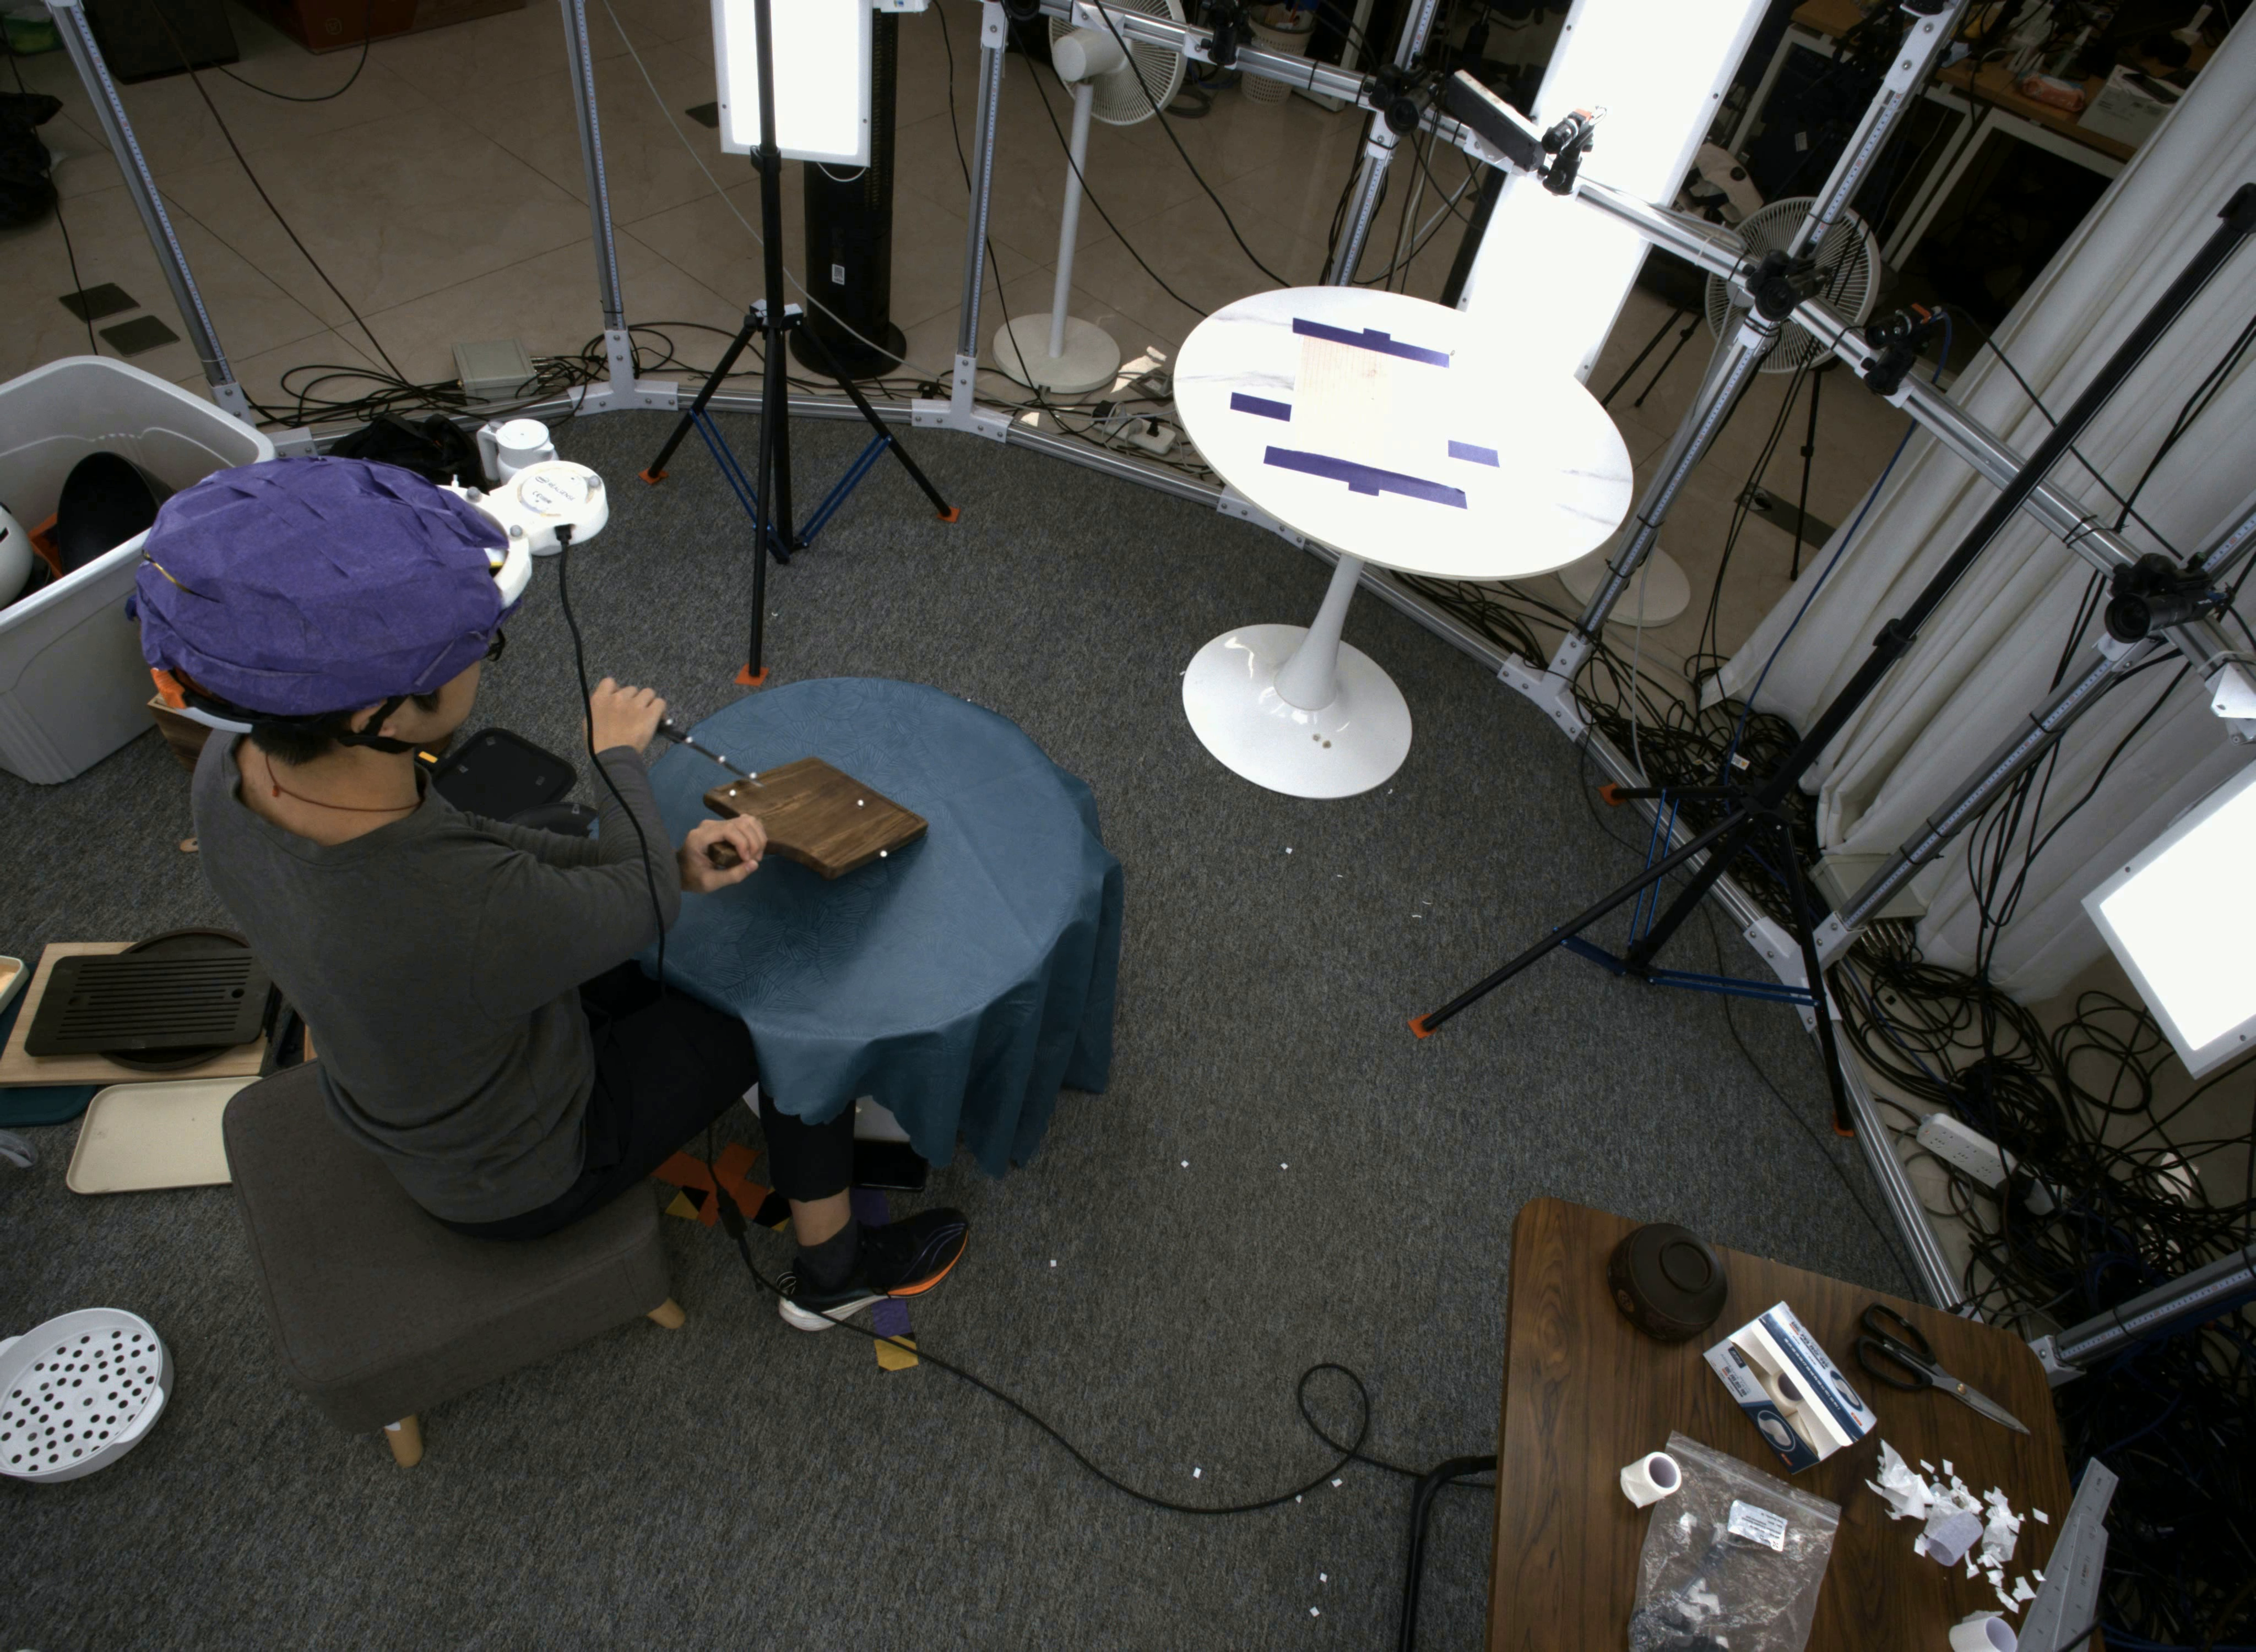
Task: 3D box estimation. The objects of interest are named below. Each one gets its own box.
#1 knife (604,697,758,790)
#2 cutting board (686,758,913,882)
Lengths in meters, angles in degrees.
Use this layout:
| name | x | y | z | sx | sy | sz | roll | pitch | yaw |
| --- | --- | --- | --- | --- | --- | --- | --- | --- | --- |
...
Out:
| name | x | y | z | sx | sy | sz | roll | pitch | yaw |
| --- | --- | --- | --- | --- | --- | --- | --- | --- | --- |
| knife | -0.567 | -0.103 | 1.613 | 0.237 | 0.016 | 0.024 | 29 | 20 | -1 |
| cutting board | -0.427 | -0.003 | 1.609 | 0.198 | 0.023 | 0.352 | 29 | 21 | 9 |
